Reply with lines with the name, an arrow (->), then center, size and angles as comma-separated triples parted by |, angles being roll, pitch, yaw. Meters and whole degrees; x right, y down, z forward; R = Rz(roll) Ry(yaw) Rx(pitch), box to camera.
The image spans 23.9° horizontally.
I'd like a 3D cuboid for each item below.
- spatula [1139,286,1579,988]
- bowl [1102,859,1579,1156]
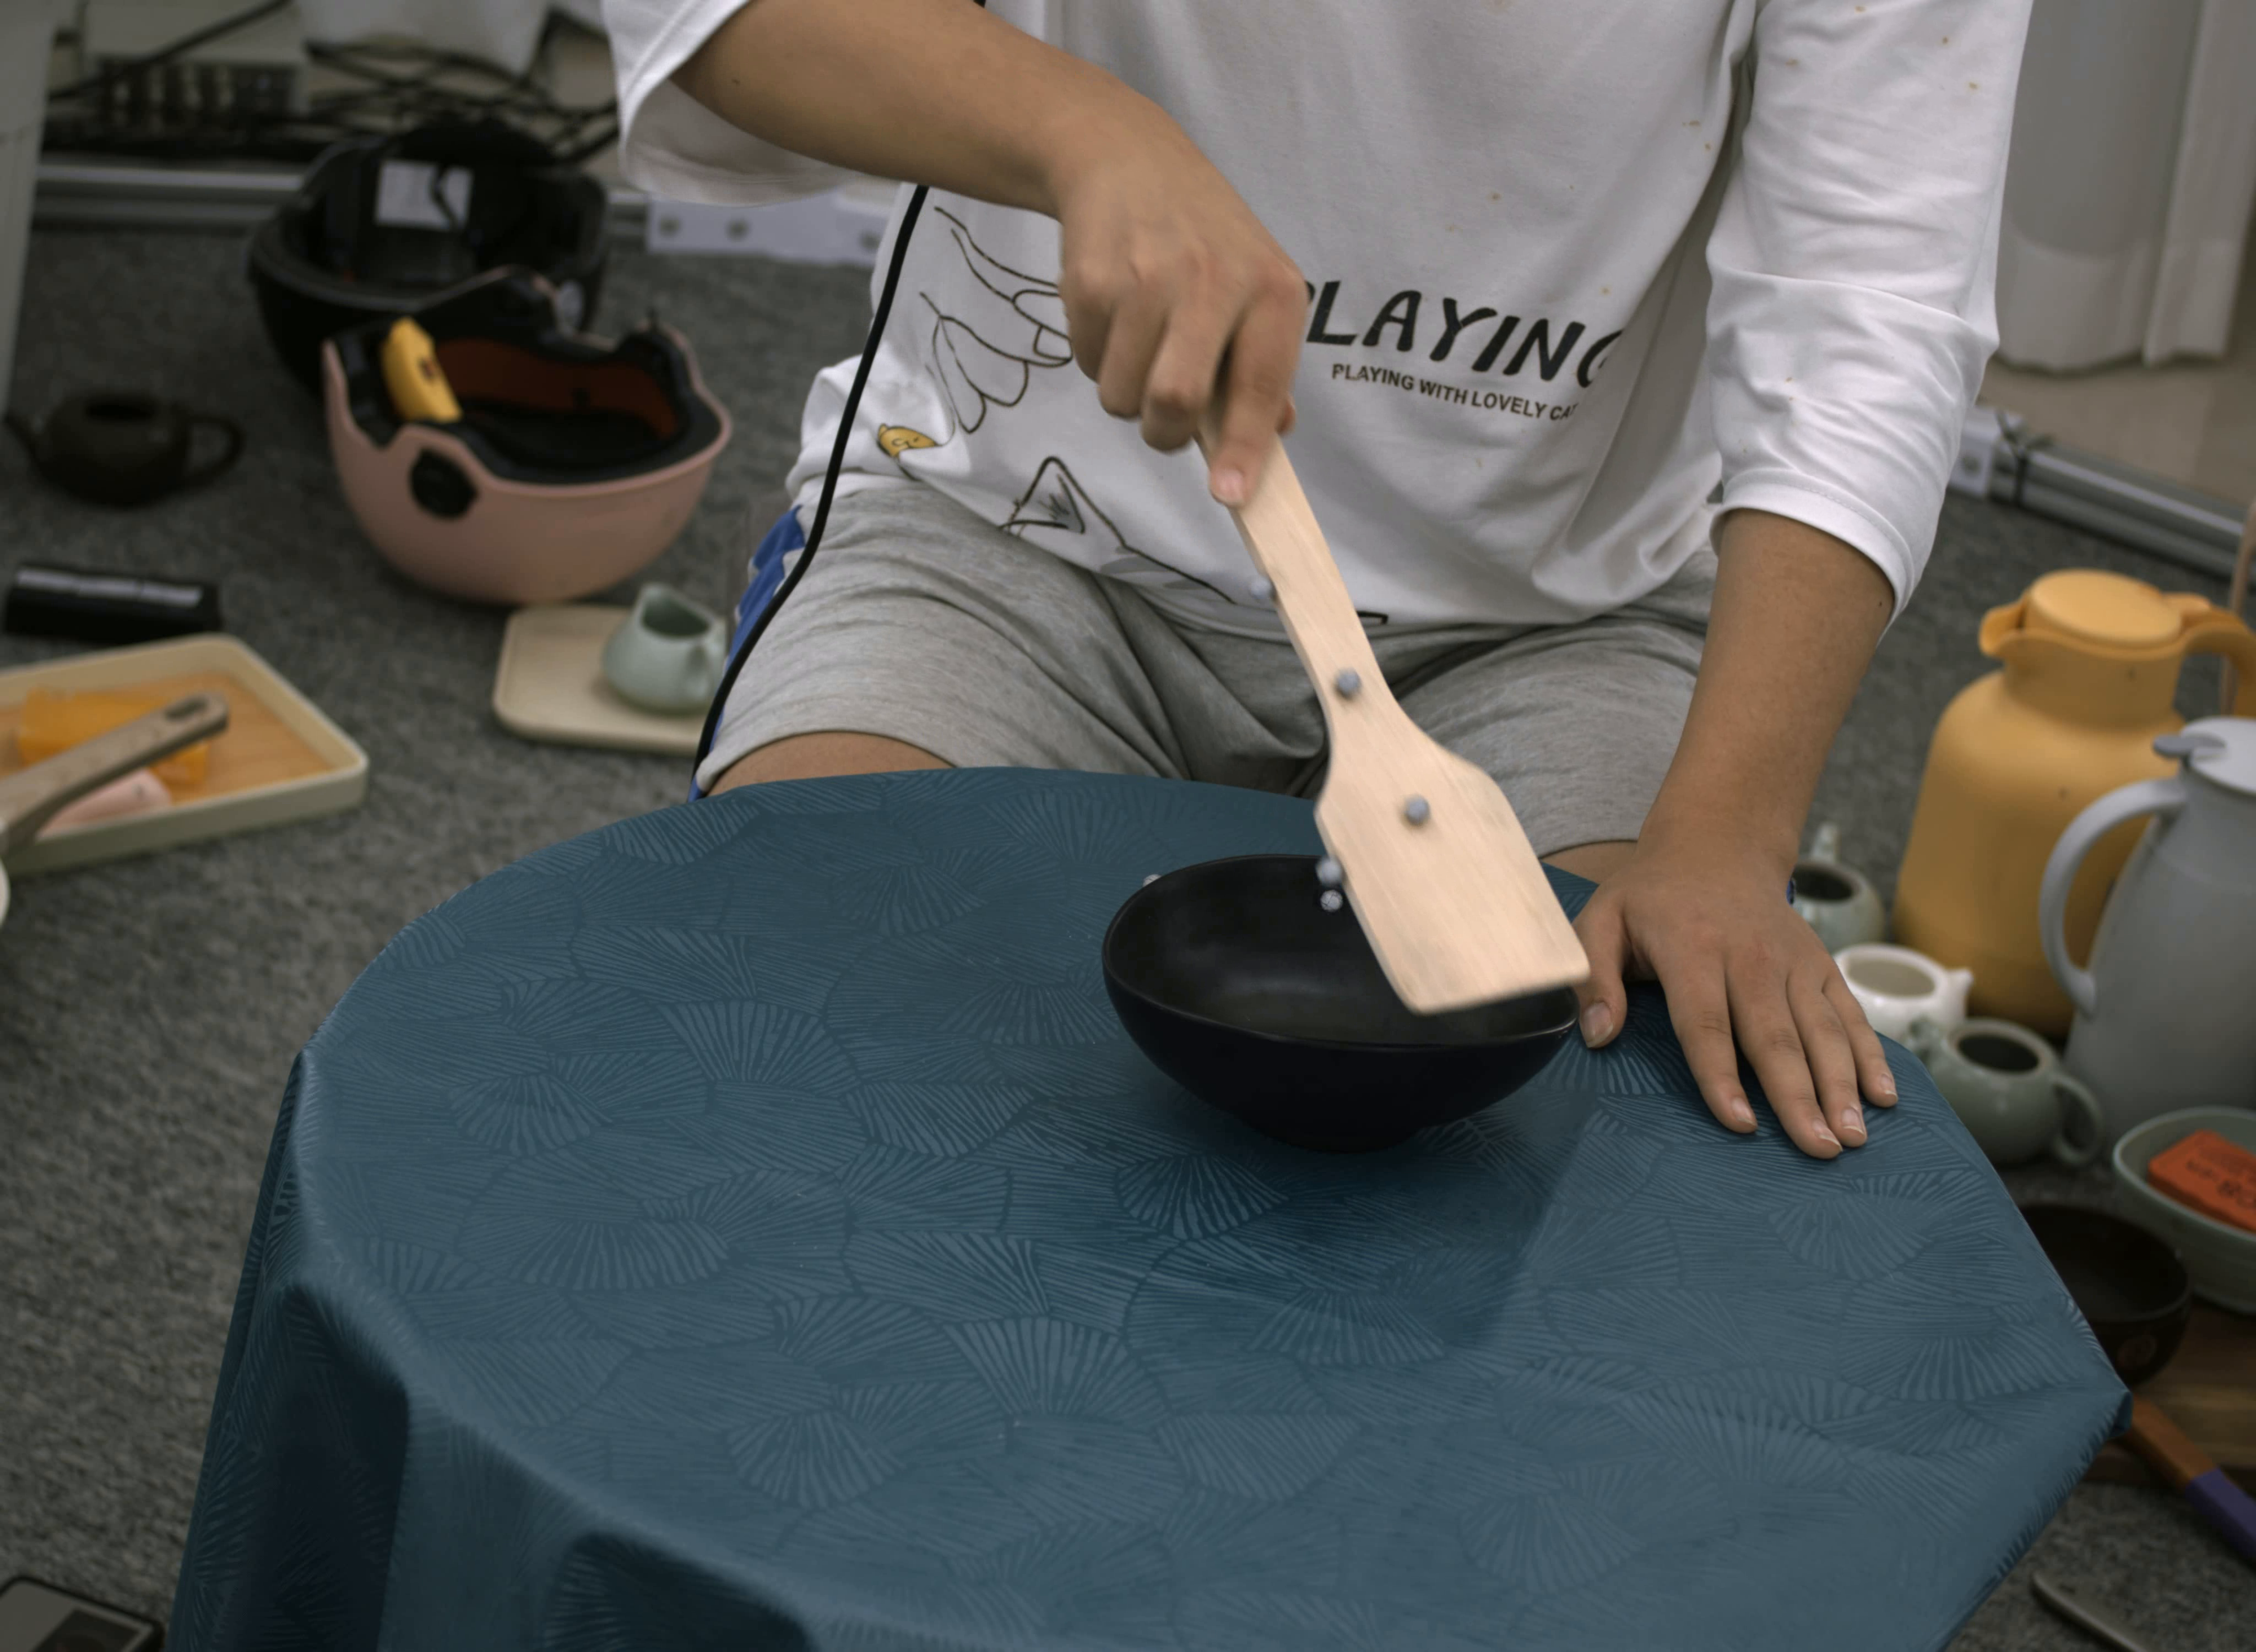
spatula -> 0.066, -0.070, 1.821 | 0.072, 0.010, 0.295 | -11, 61, -24
bowl -> 0.071, 0.070, 1.860 | 0.169, 0.066, 0.138 | 3, 27, -12
